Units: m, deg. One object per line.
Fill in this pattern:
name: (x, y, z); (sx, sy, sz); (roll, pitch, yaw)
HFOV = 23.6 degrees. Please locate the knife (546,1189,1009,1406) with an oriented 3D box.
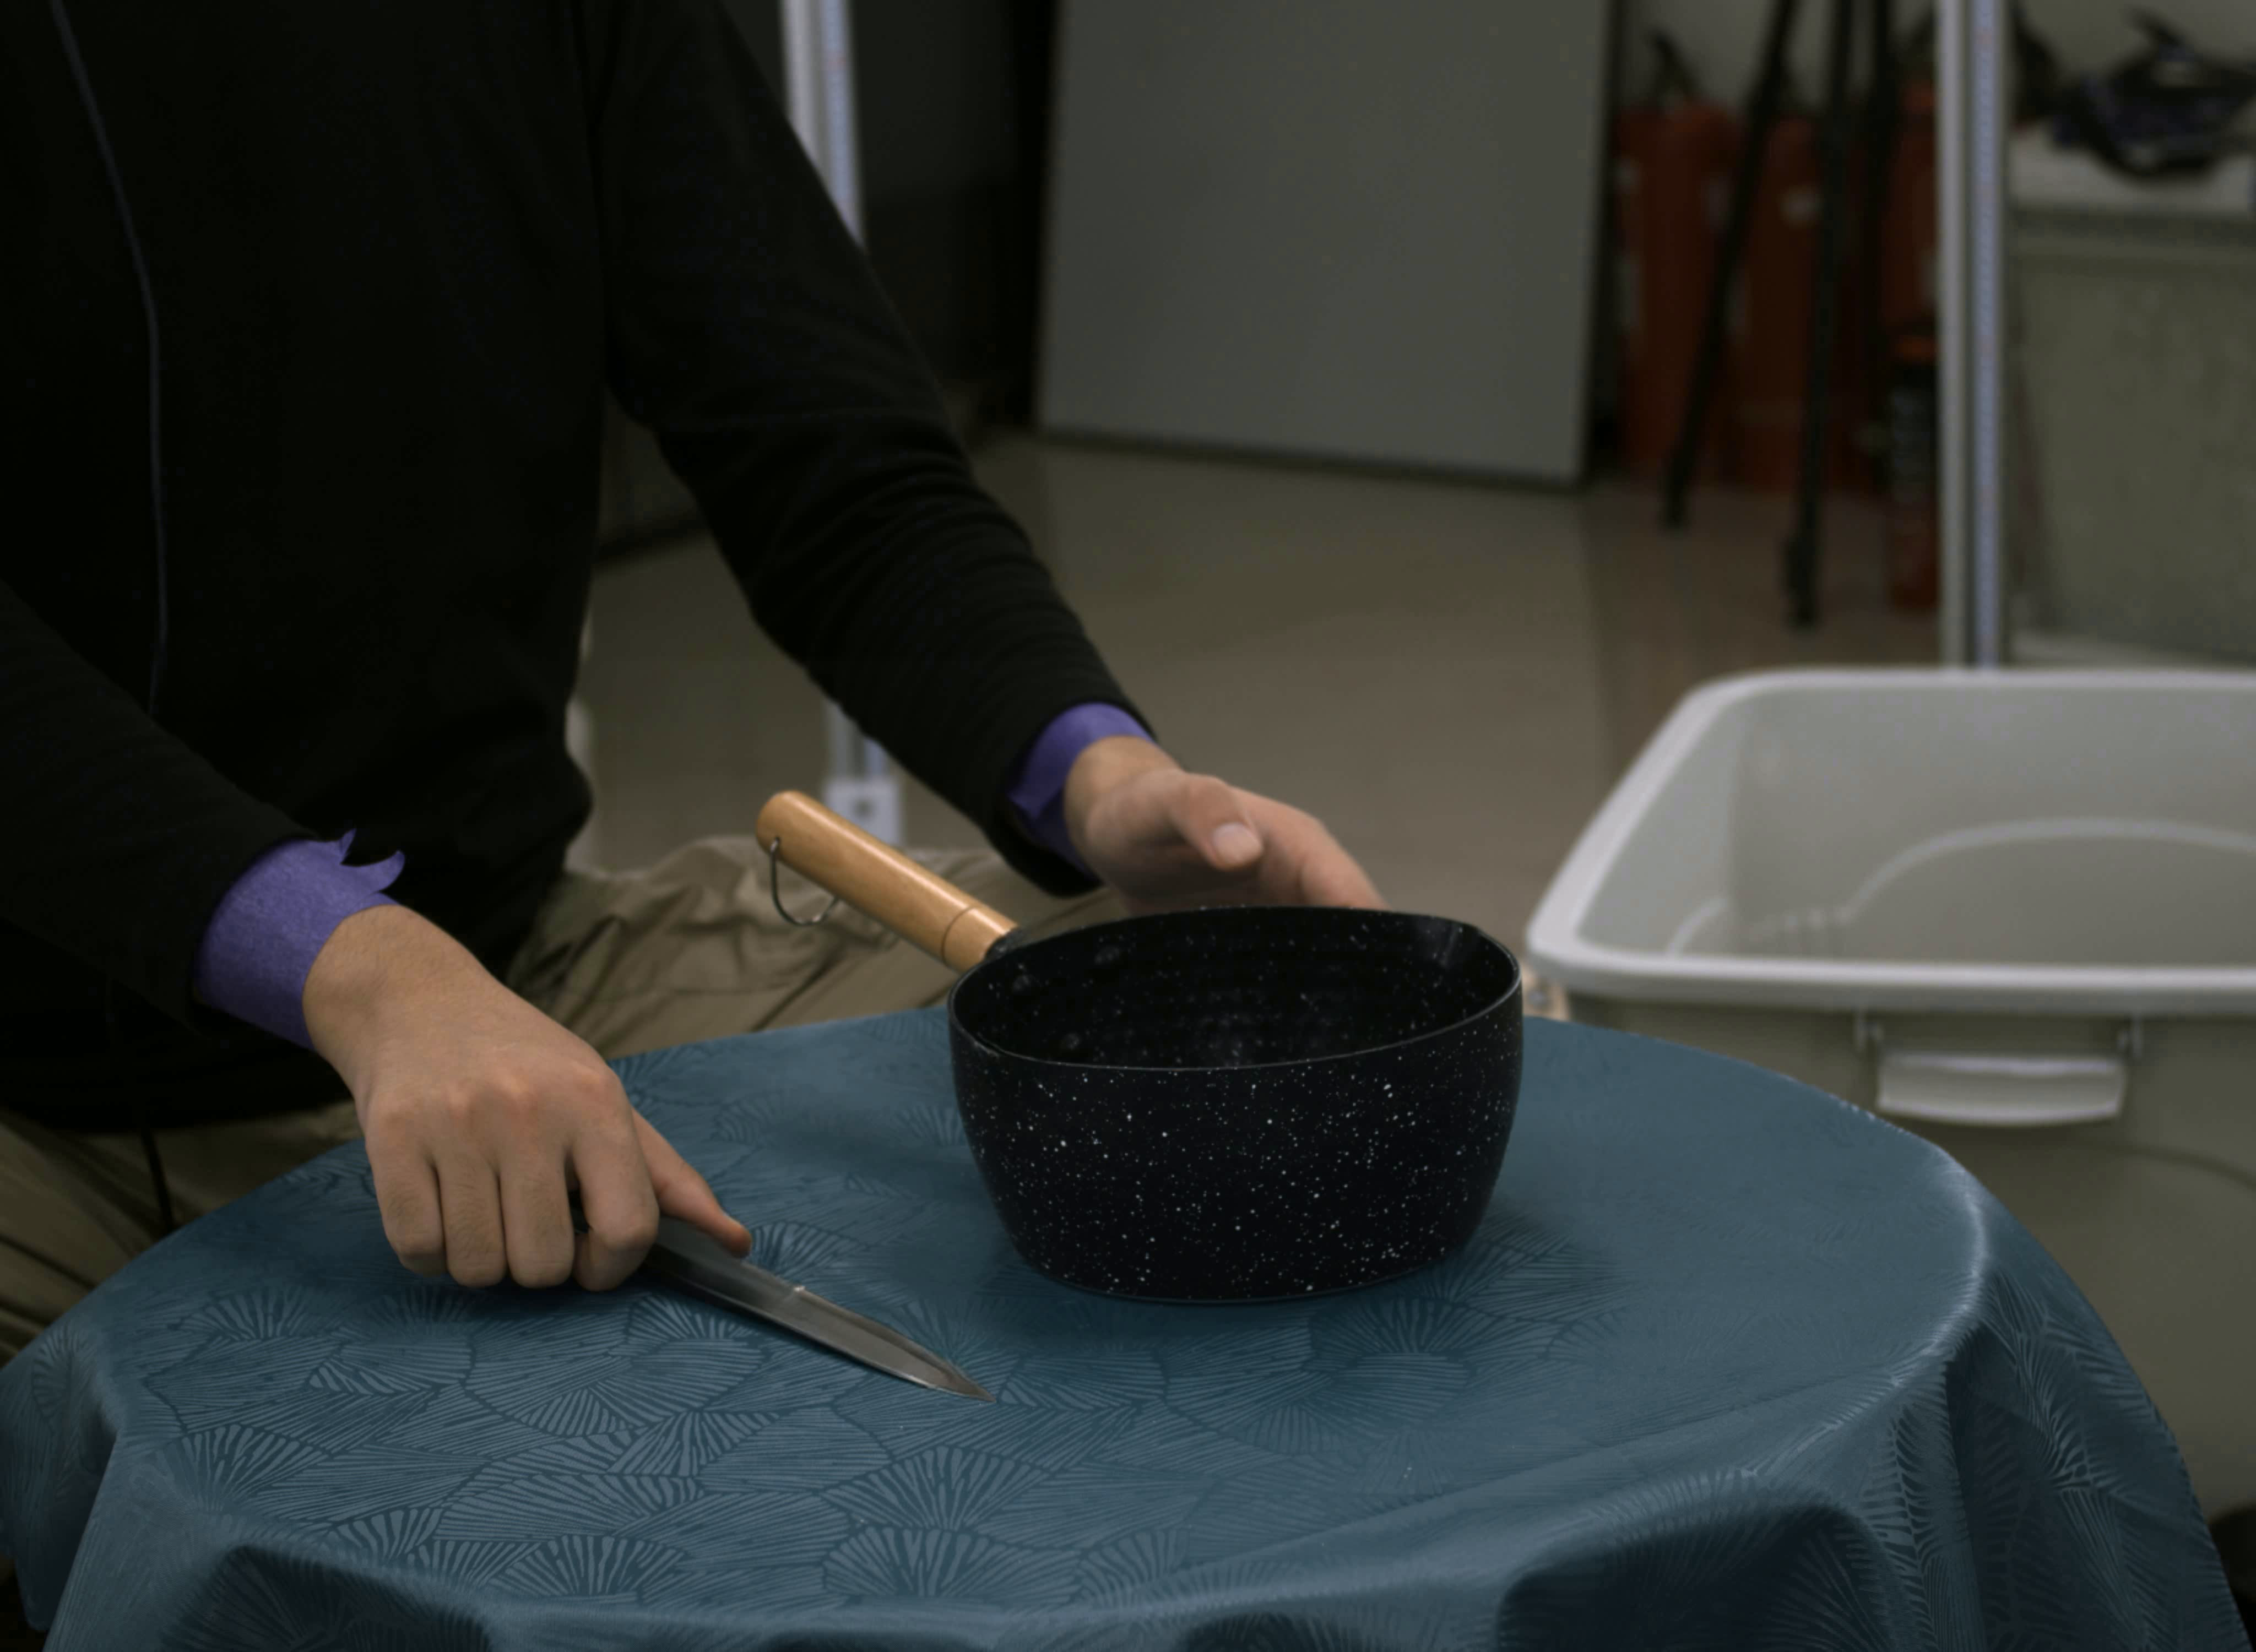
knife: (-0.113, 0.148, 1.679); (0.024, 0.016, 0.240); (-11, 18, -37)

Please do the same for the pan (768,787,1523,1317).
pan: (-0.015, 0.067, 1.775); (0.203, 0.109, 0.346); (-15, 19, -36)
